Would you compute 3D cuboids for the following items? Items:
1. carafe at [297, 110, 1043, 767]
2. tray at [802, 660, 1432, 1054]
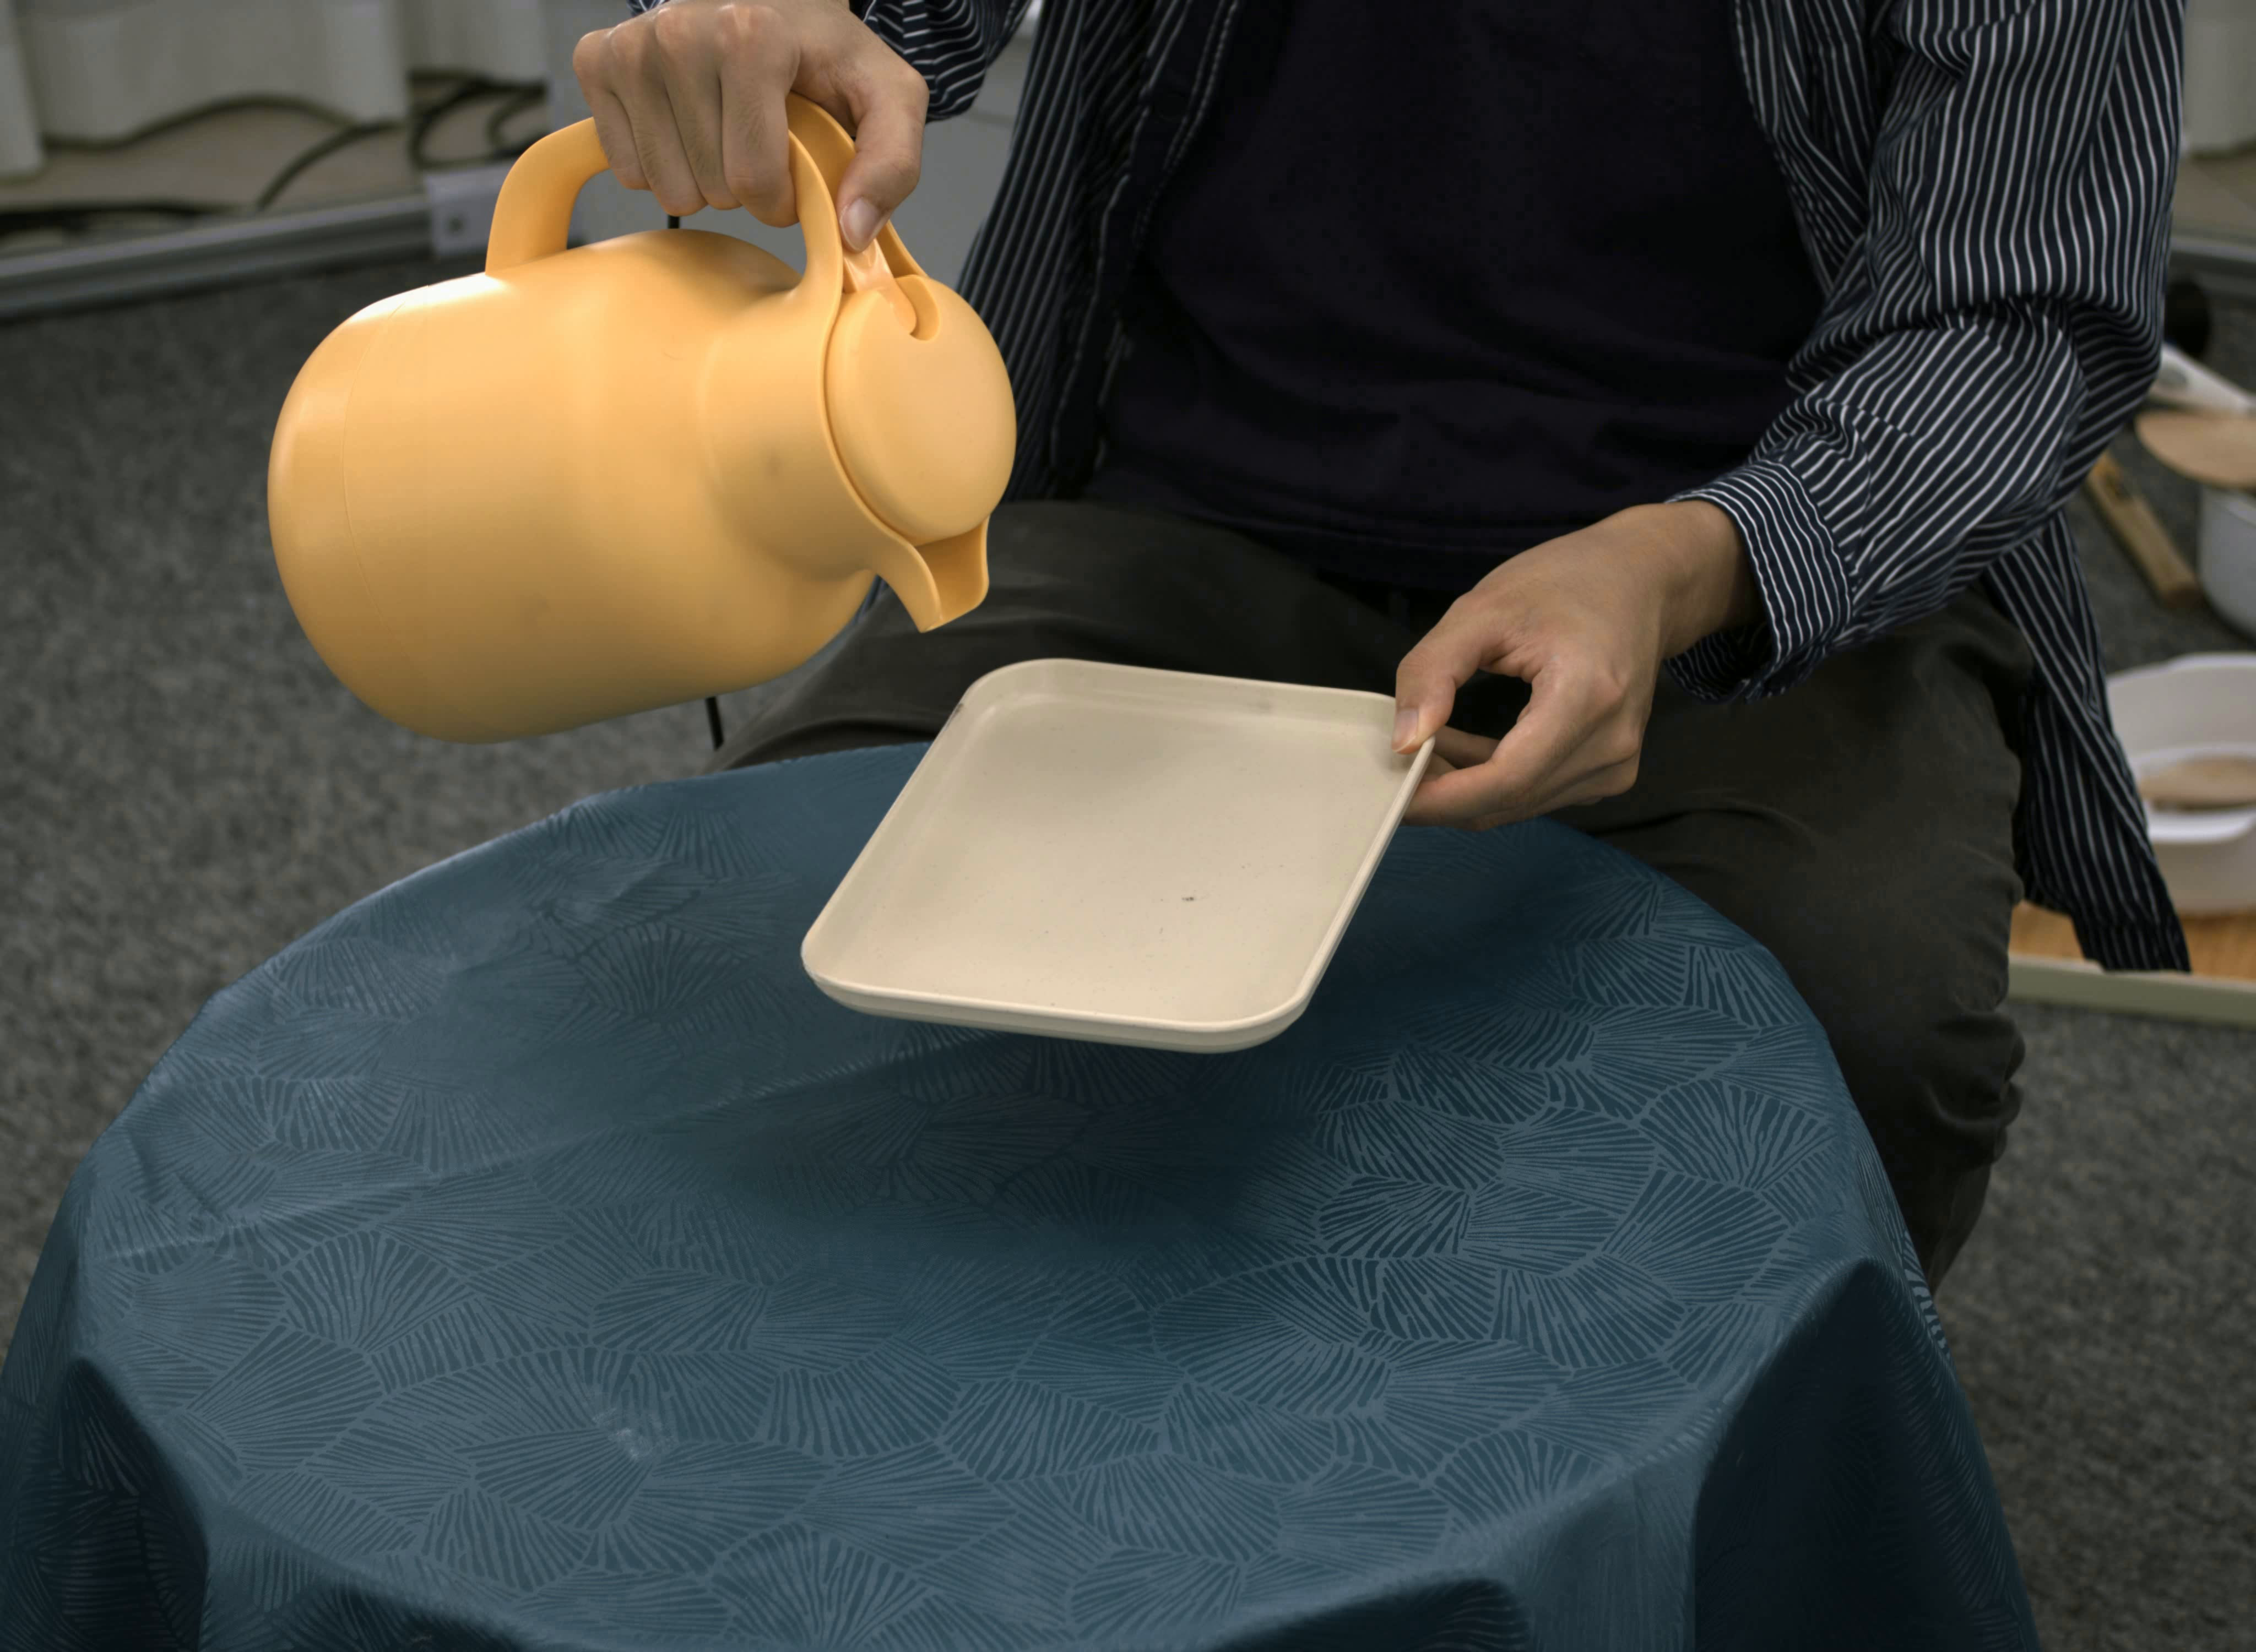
[{"bbox_3d":[-0.156,-0.133,1.932,0.257,0.202,0.165,-11,9,36],"label":"carafe"},{"bbox_3d":[0.000,0.009,1.887,0.170,0.017,0.244,7,29,14],"label":"tray"}]
